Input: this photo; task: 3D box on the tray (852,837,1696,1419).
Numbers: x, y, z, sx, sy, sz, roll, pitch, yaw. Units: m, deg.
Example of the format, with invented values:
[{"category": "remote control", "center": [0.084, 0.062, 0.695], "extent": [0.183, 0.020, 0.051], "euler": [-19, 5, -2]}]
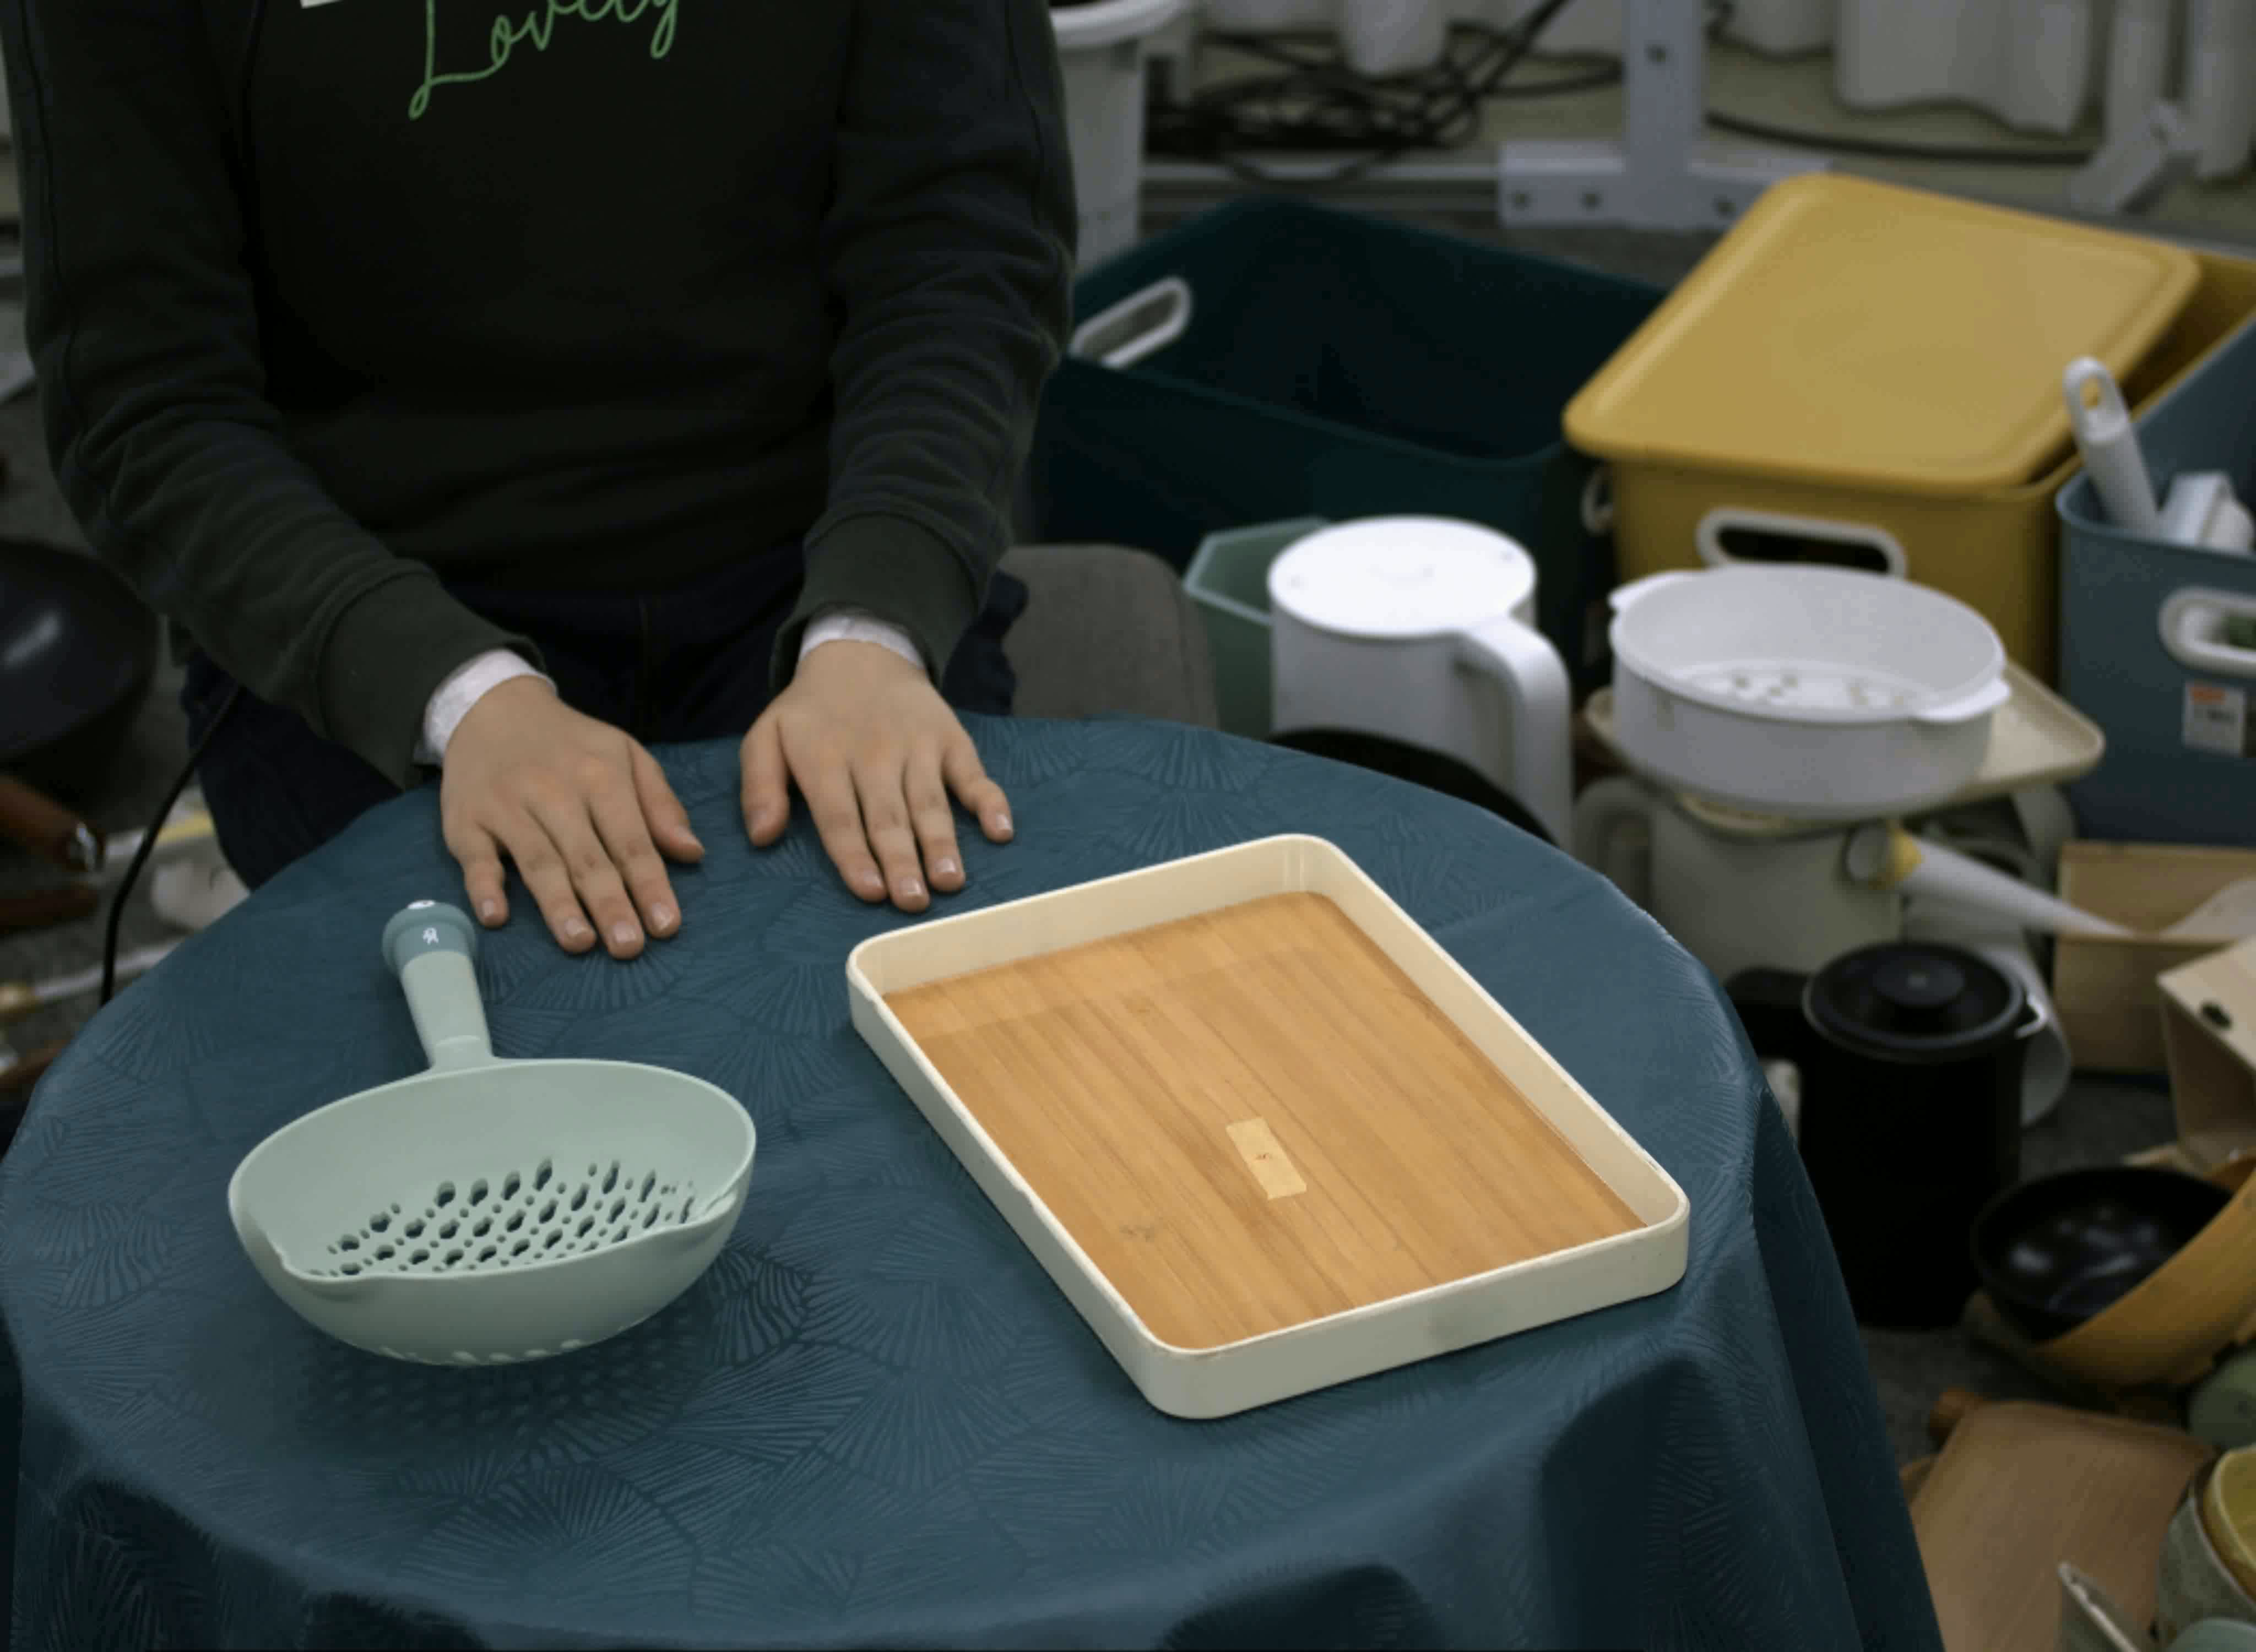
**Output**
[{"category": "tray", "center": [0.043, 0.095, 1.881], "extent": [0.192, 0.027, 0.302], "euler": [-13, 29, -19]}]

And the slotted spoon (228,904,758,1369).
[{"category": "slotted spoon", "center": [-0.220, 0.088, 1.878], "extent": [0.169, 0.074, 0.363], "euler": [-7, 28, -10]}]
